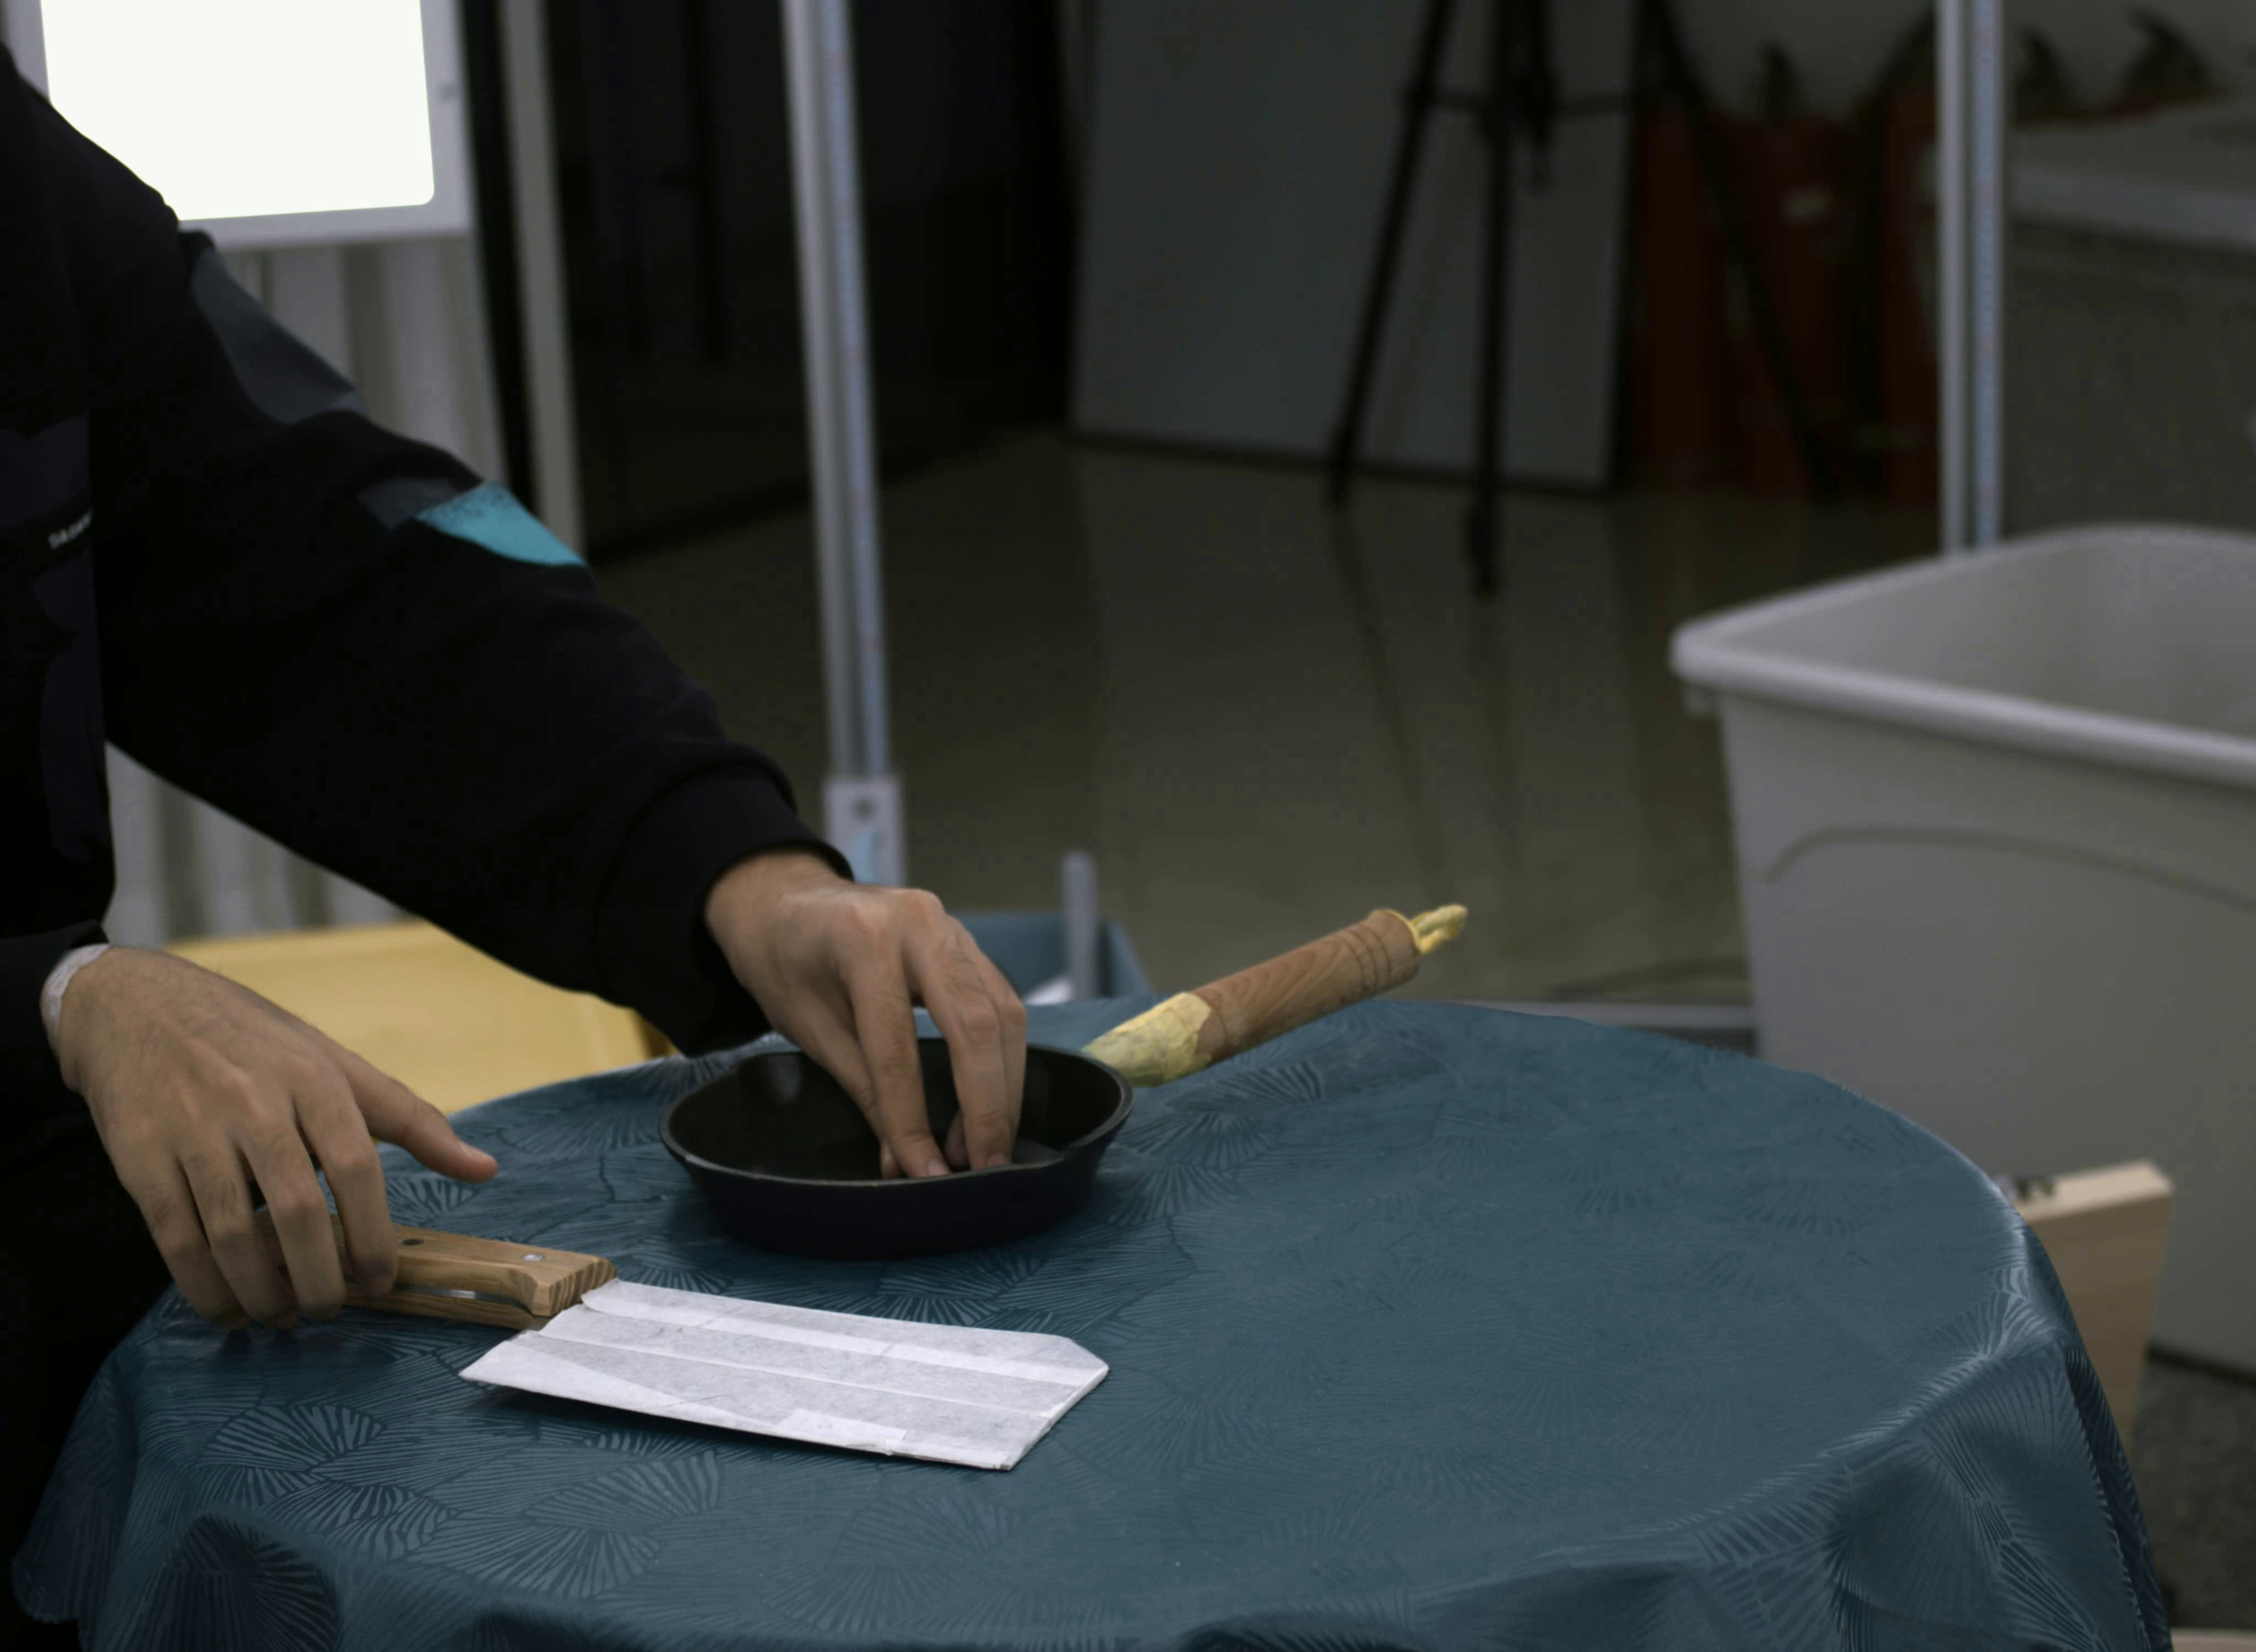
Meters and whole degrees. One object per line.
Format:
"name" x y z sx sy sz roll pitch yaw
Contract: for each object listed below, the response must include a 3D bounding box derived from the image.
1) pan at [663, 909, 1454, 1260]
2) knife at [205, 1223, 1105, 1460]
"pan" -0.009 0.084 1.819 0.317 0.050 0.171 -15 16 -34
"knife" -0.149 0.155 1.641 0.316 0.022 0.112 7 18 29
